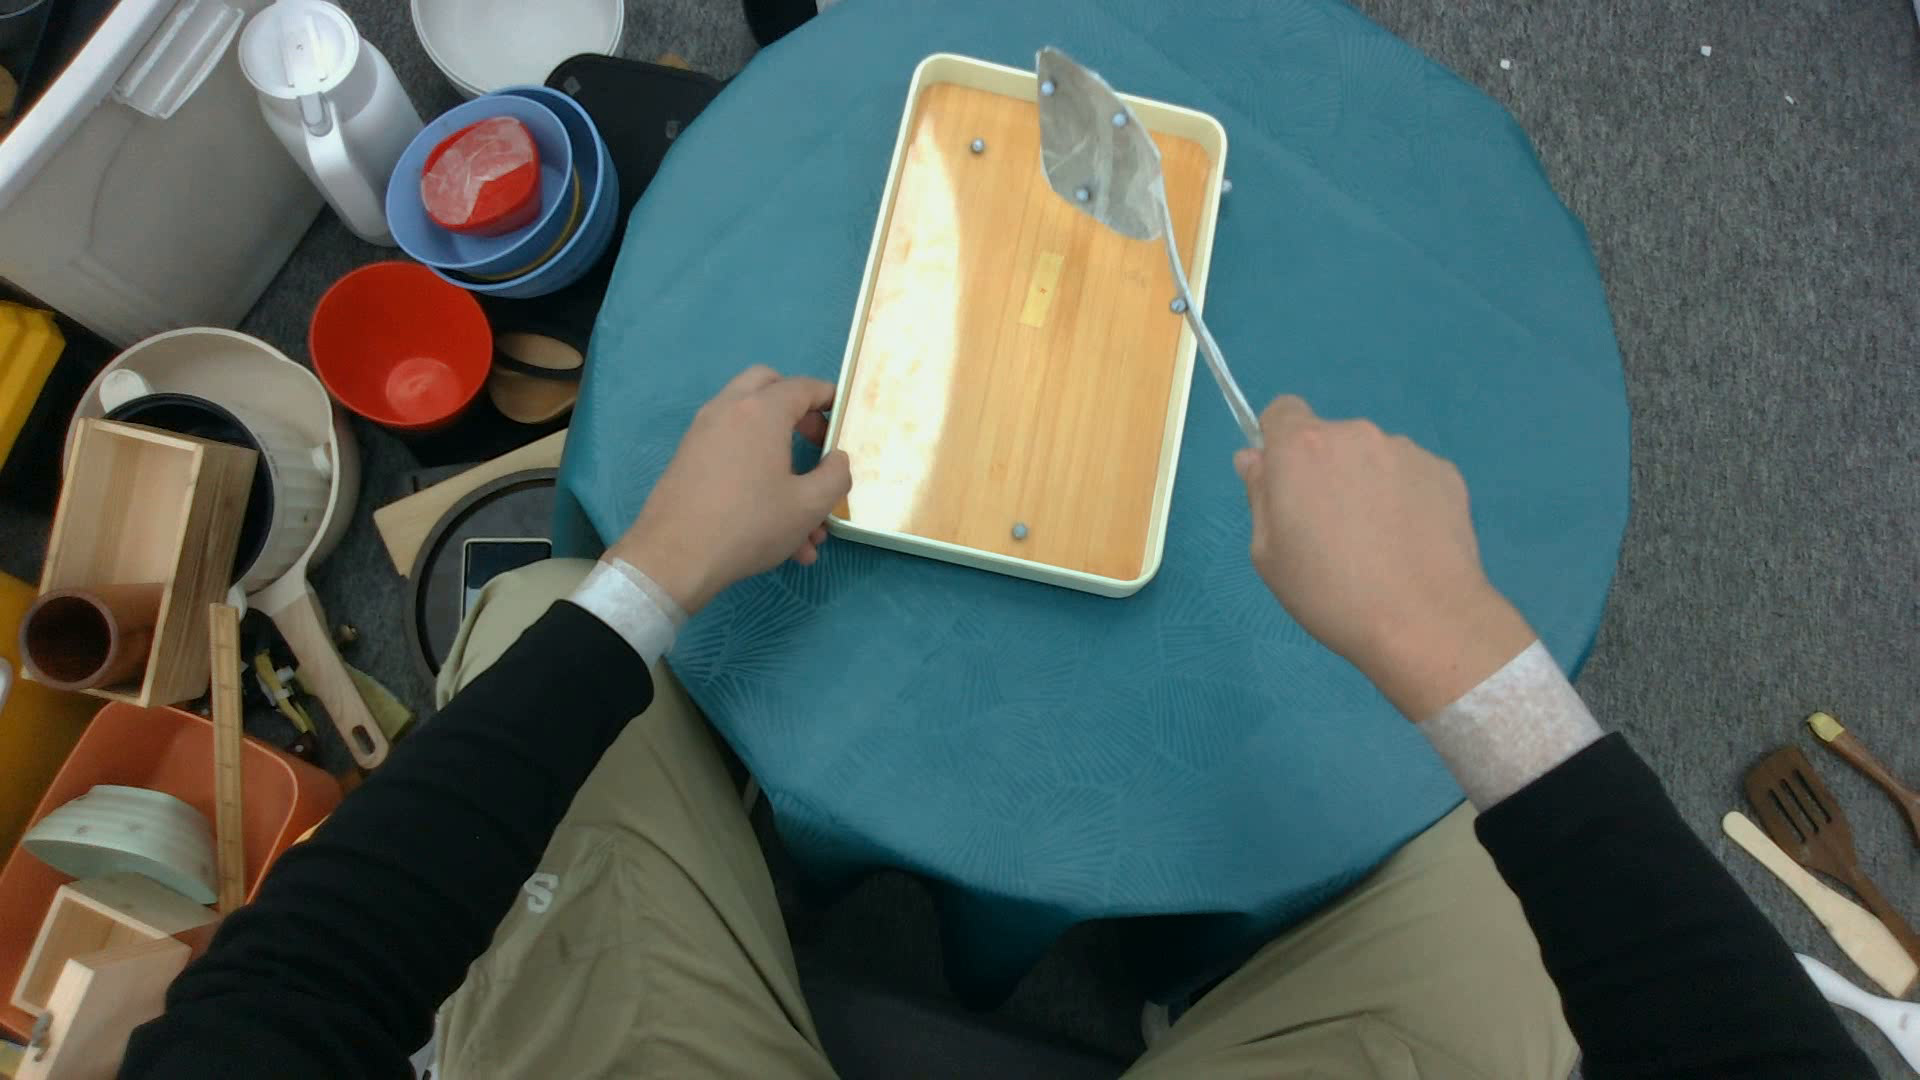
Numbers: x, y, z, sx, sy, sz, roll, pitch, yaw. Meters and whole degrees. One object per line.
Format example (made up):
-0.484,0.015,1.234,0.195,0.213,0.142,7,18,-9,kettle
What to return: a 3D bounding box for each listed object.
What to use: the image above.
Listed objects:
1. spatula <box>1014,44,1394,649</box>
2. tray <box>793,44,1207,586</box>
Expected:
0.105,-0.100,0.657,0.045,0.098,0.366,-17,59,-7,spatula
0.028,-0.134,0.781,0.191,0.027,0.301,13,72,-3,tray
